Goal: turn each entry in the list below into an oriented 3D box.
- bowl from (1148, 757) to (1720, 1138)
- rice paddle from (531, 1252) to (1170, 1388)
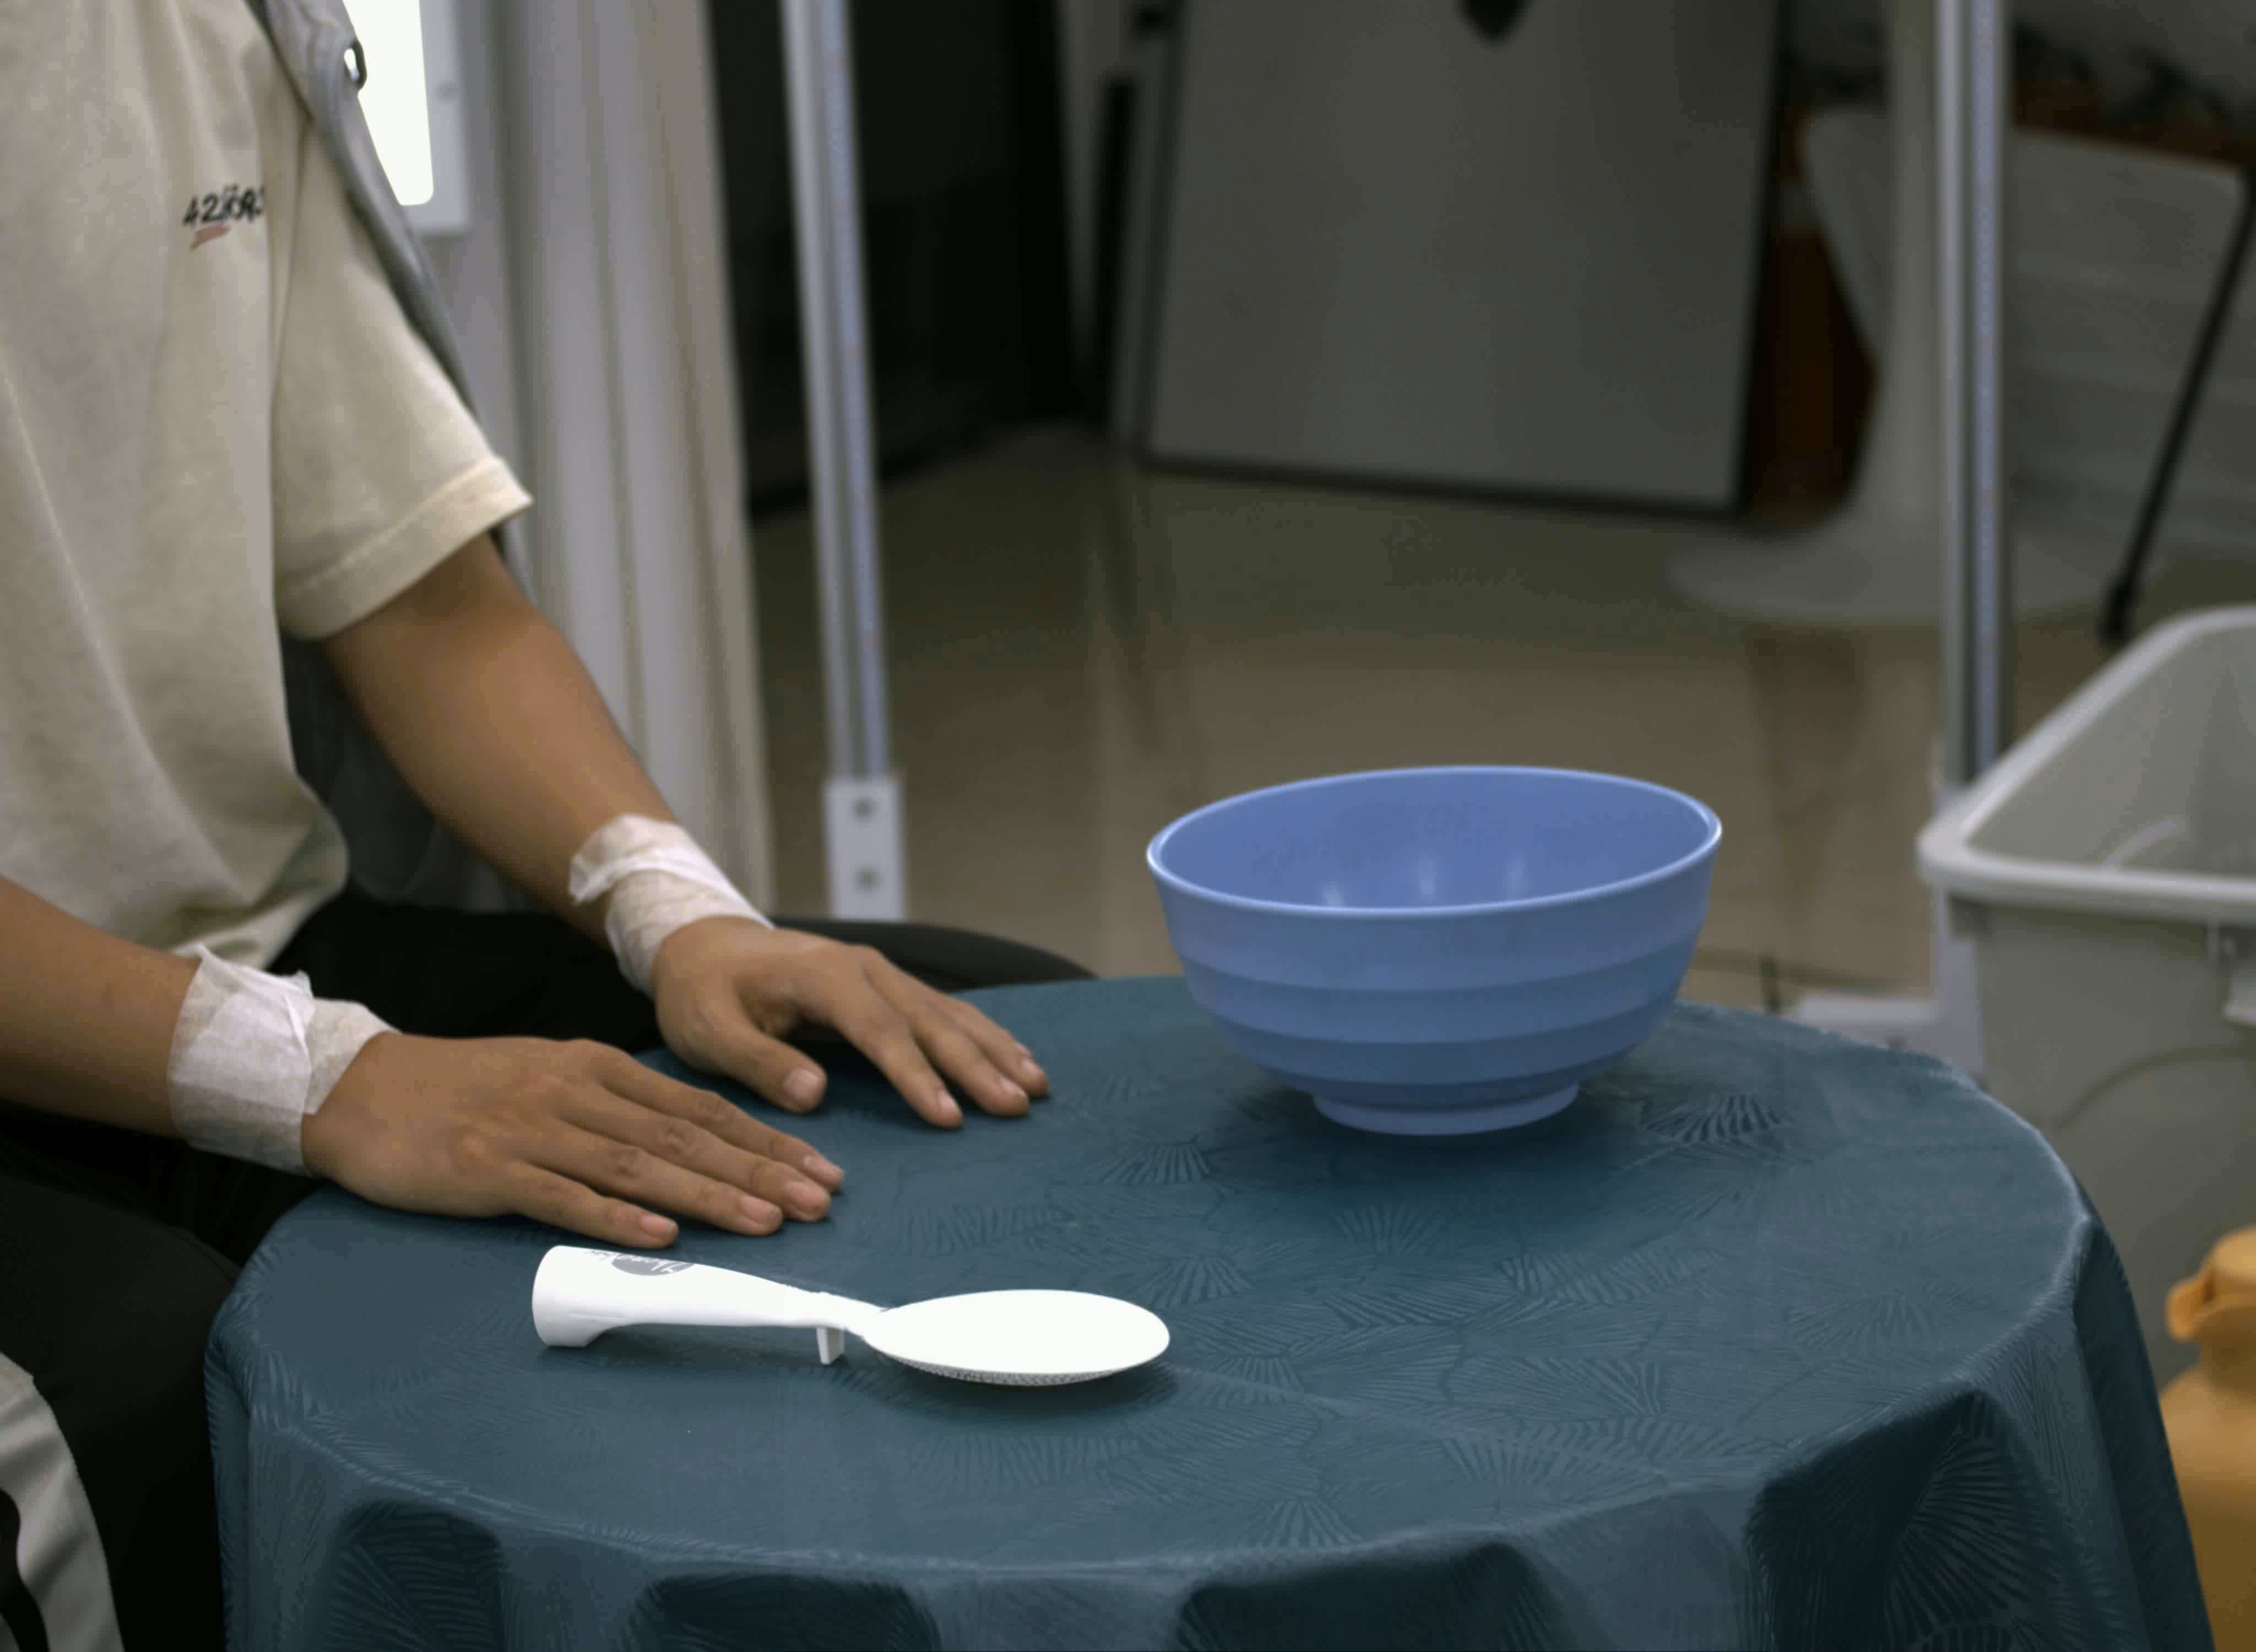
[{"bbox_3d":[0.106,0.047,1.840,0.194,0.096,0.197,-3,15,0],"label":"bowl"},{"bbox_3d":[-0.083,0.148,1.626,0.205,0.030,0.068,2,16,23],"label":"rice paddle"}]
